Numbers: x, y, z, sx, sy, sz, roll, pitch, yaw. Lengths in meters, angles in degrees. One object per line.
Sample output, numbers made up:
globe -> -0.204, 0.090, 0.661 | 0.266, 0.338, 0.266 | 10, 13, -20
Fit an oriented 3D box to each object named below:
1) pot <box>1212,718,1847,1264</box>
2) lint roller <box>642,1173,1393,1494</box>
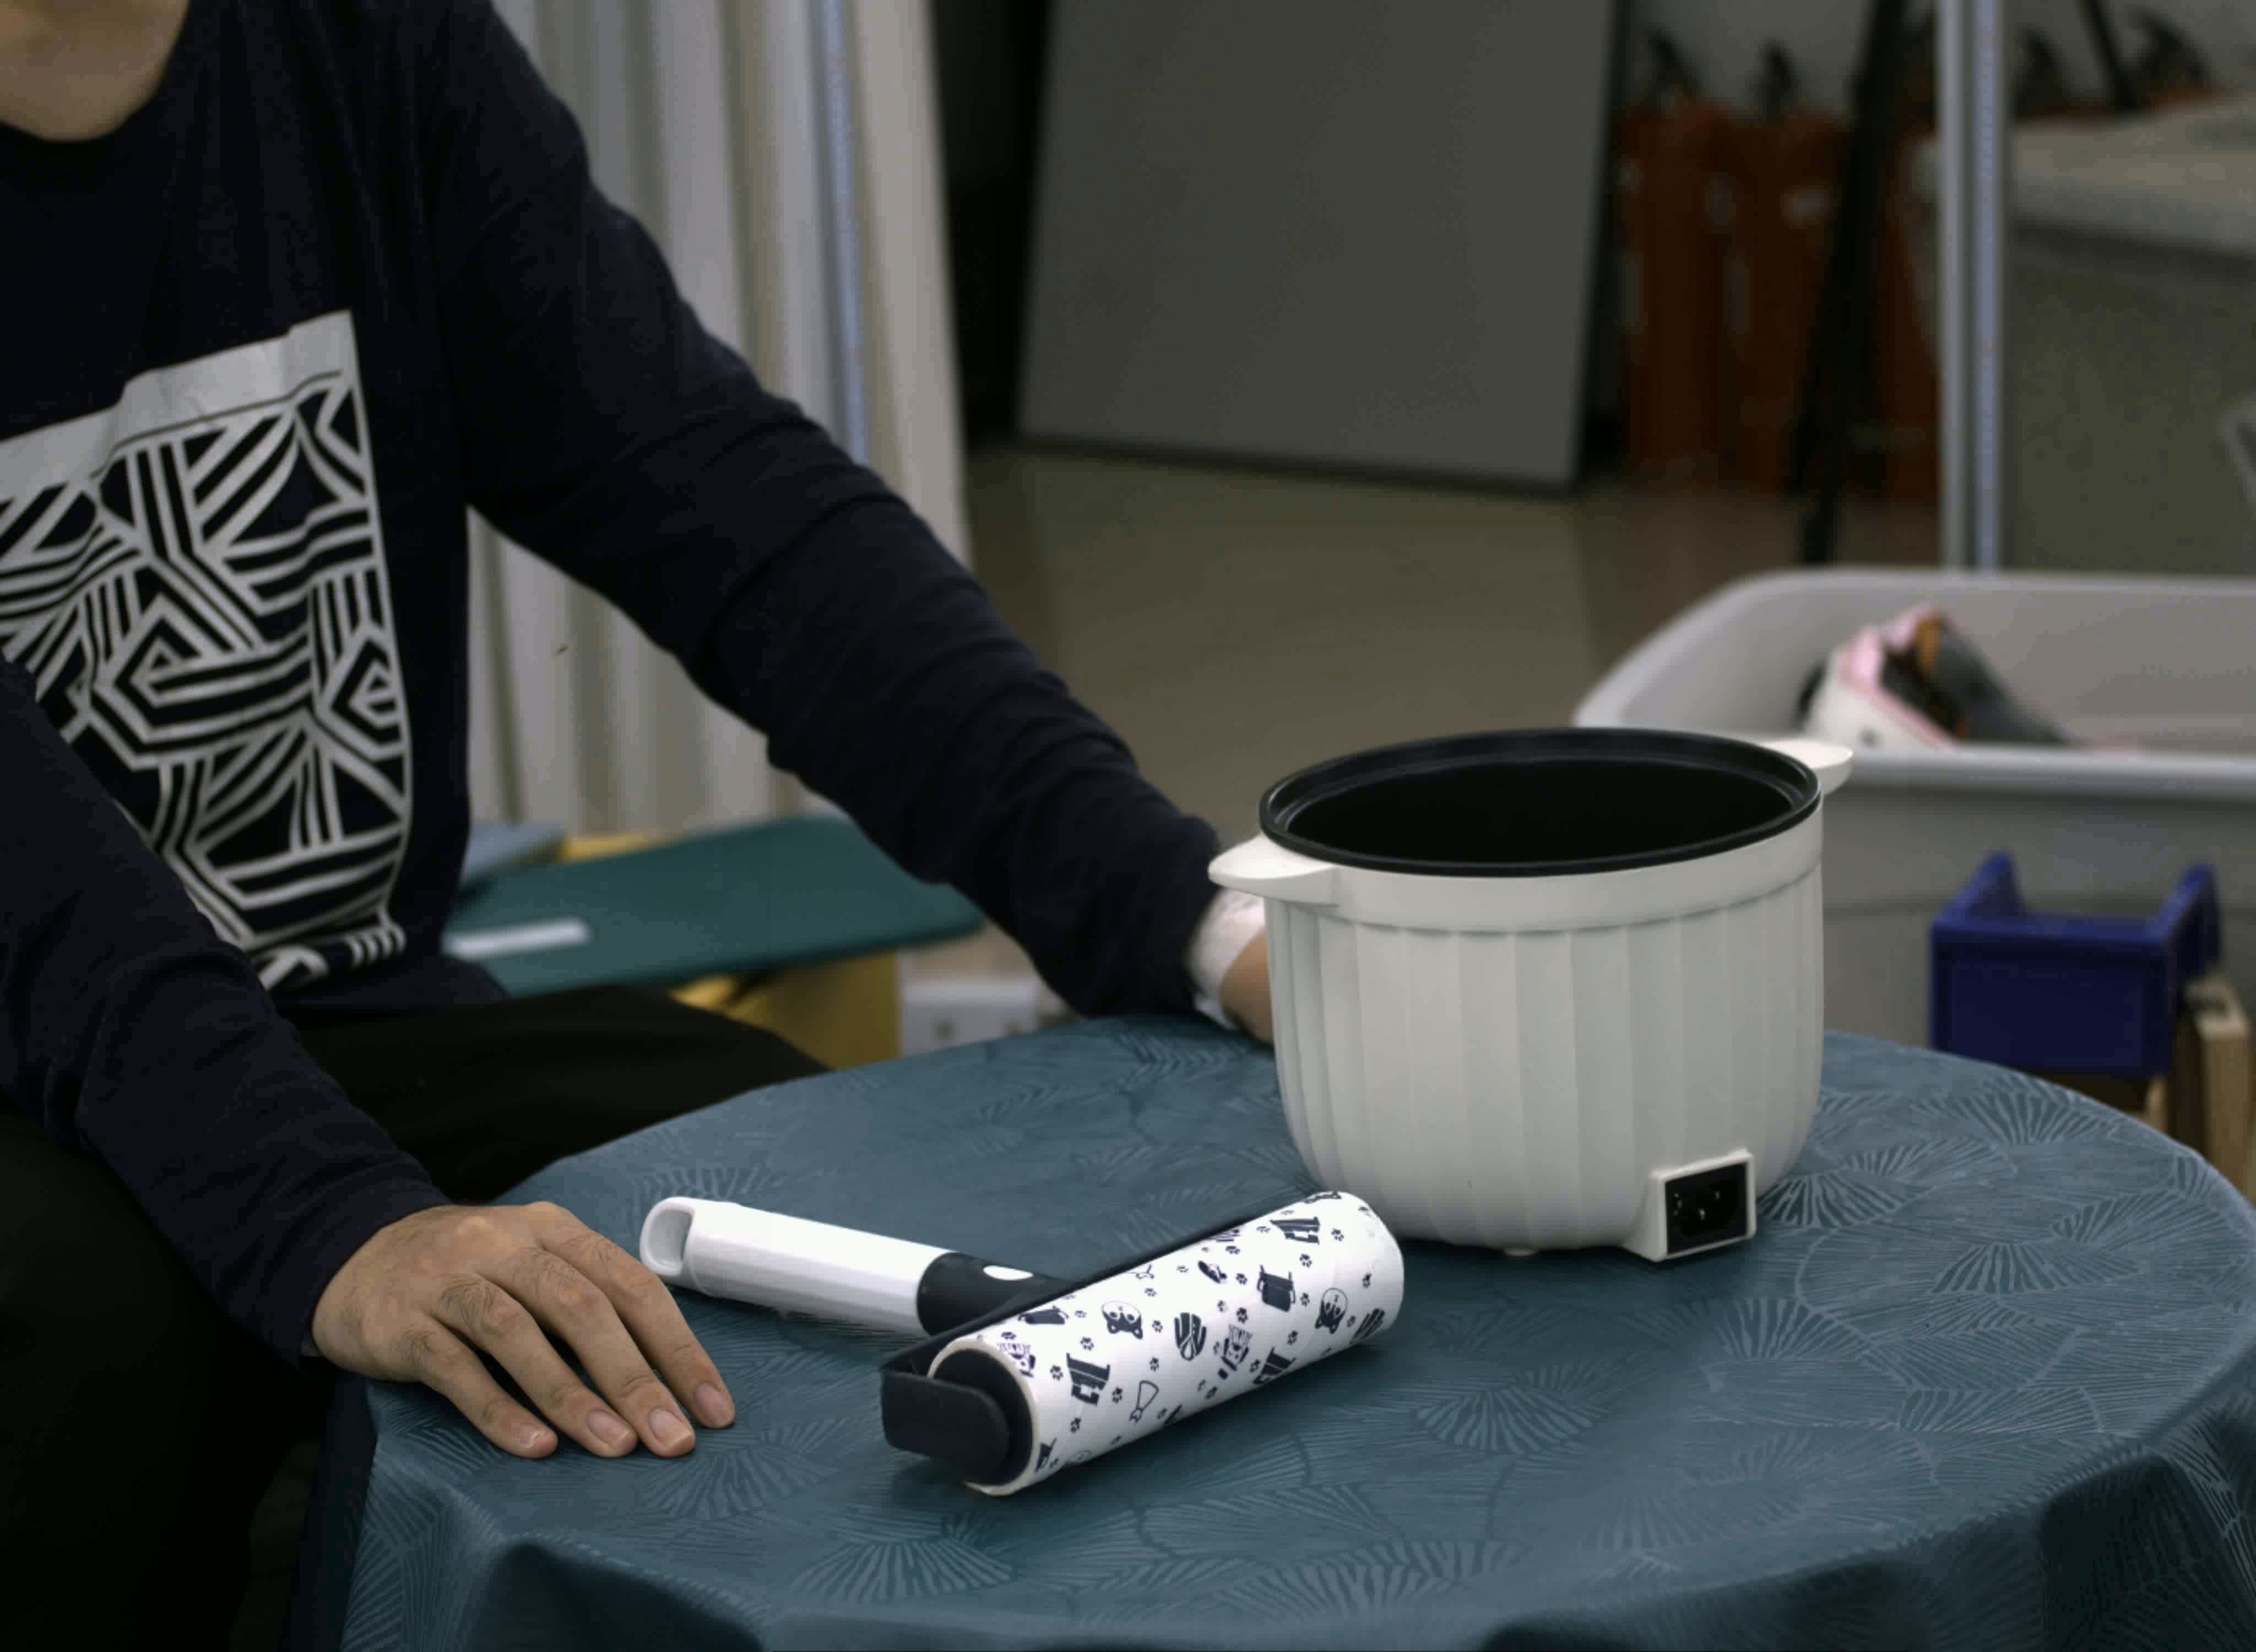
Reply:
pot -> 0.130, 0.052, 1.726 | 0.235, 0.144, 0.192 | -10, 17, -28
lint roller -> -0.063, 0.140, 1.628 | 0.249, 0.051, 0.173 | 5, 18, 43
